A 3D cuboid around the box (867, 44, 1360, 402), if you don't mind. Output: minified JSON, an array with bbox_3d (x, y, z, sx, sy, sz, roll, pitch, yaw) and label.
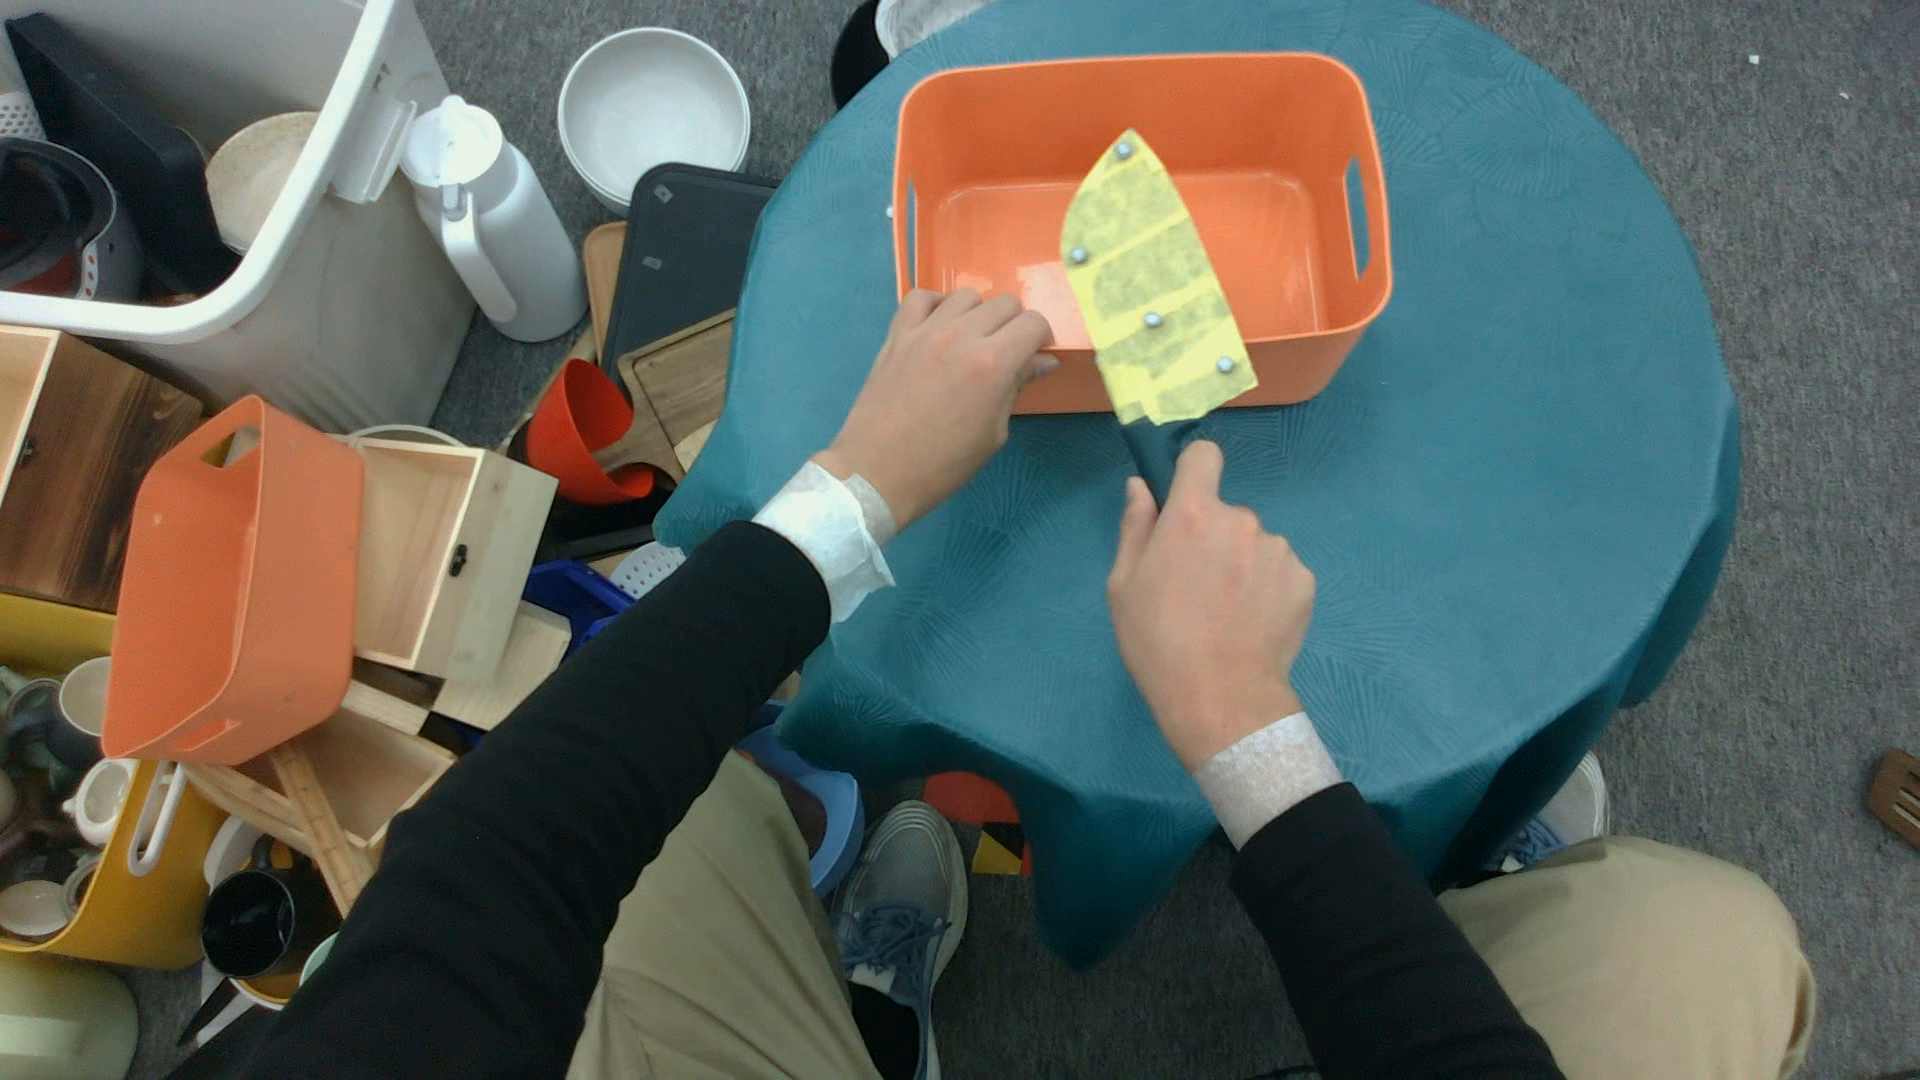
[{"bbox_3d":[0.085,-0.180,0.815,0.273,0.102,0.200,-2,66,1],"label":"box"}]

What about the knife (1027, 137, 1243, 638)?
[{"bbox_3d":[0.098,-0.089,0.711,0.081,0.027,0.290,-25,70,23],"label":"knife"}]
